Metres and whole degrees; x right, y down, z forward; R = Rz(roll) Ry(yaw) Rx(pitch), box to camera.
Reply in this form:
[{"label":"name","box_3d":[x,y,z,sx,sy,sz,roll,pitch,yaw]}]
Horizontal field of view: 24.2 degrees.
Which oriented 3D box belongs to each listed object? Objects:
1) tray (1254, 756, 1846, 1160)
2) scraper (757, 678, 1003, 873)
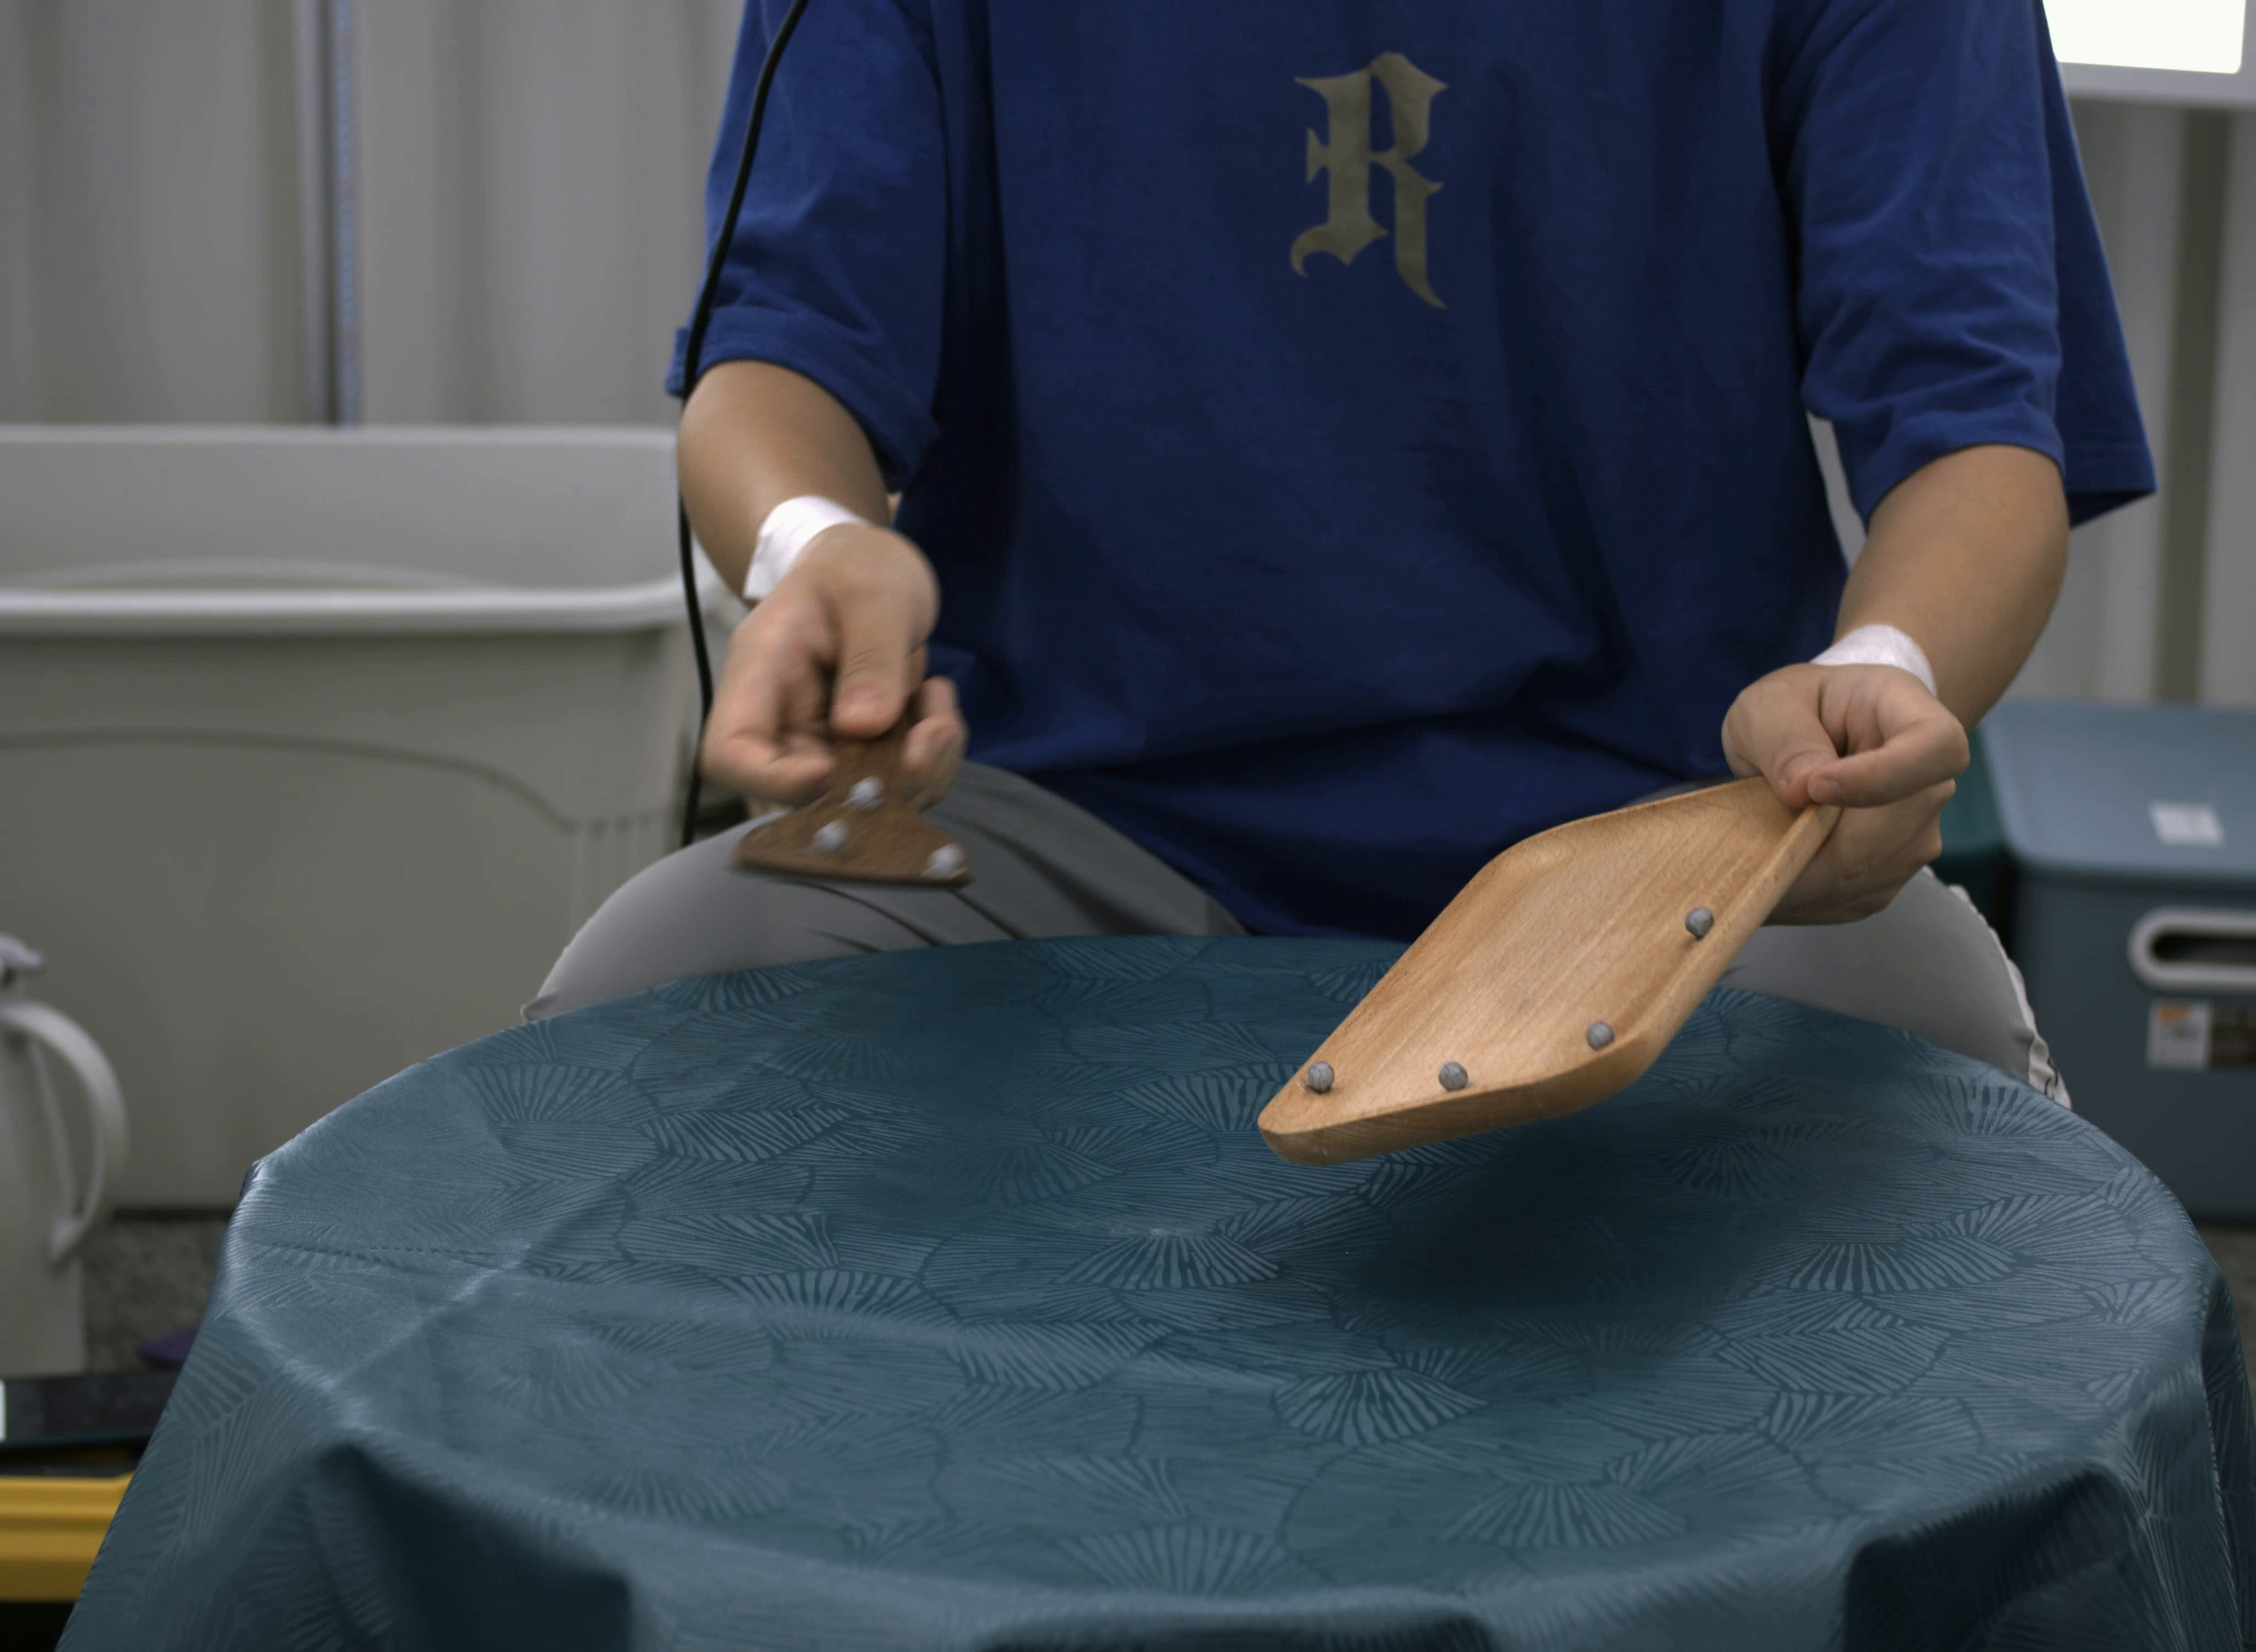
[{"label":"tray","box_3d":[0.133,0.038,1.604,0.129,0.023,0.251,-12,15,29]},{"label":"scraper","box_3d":[-0.077,-0.018,1.685,0.076,0.011,0.210,8,16,-3]}]
